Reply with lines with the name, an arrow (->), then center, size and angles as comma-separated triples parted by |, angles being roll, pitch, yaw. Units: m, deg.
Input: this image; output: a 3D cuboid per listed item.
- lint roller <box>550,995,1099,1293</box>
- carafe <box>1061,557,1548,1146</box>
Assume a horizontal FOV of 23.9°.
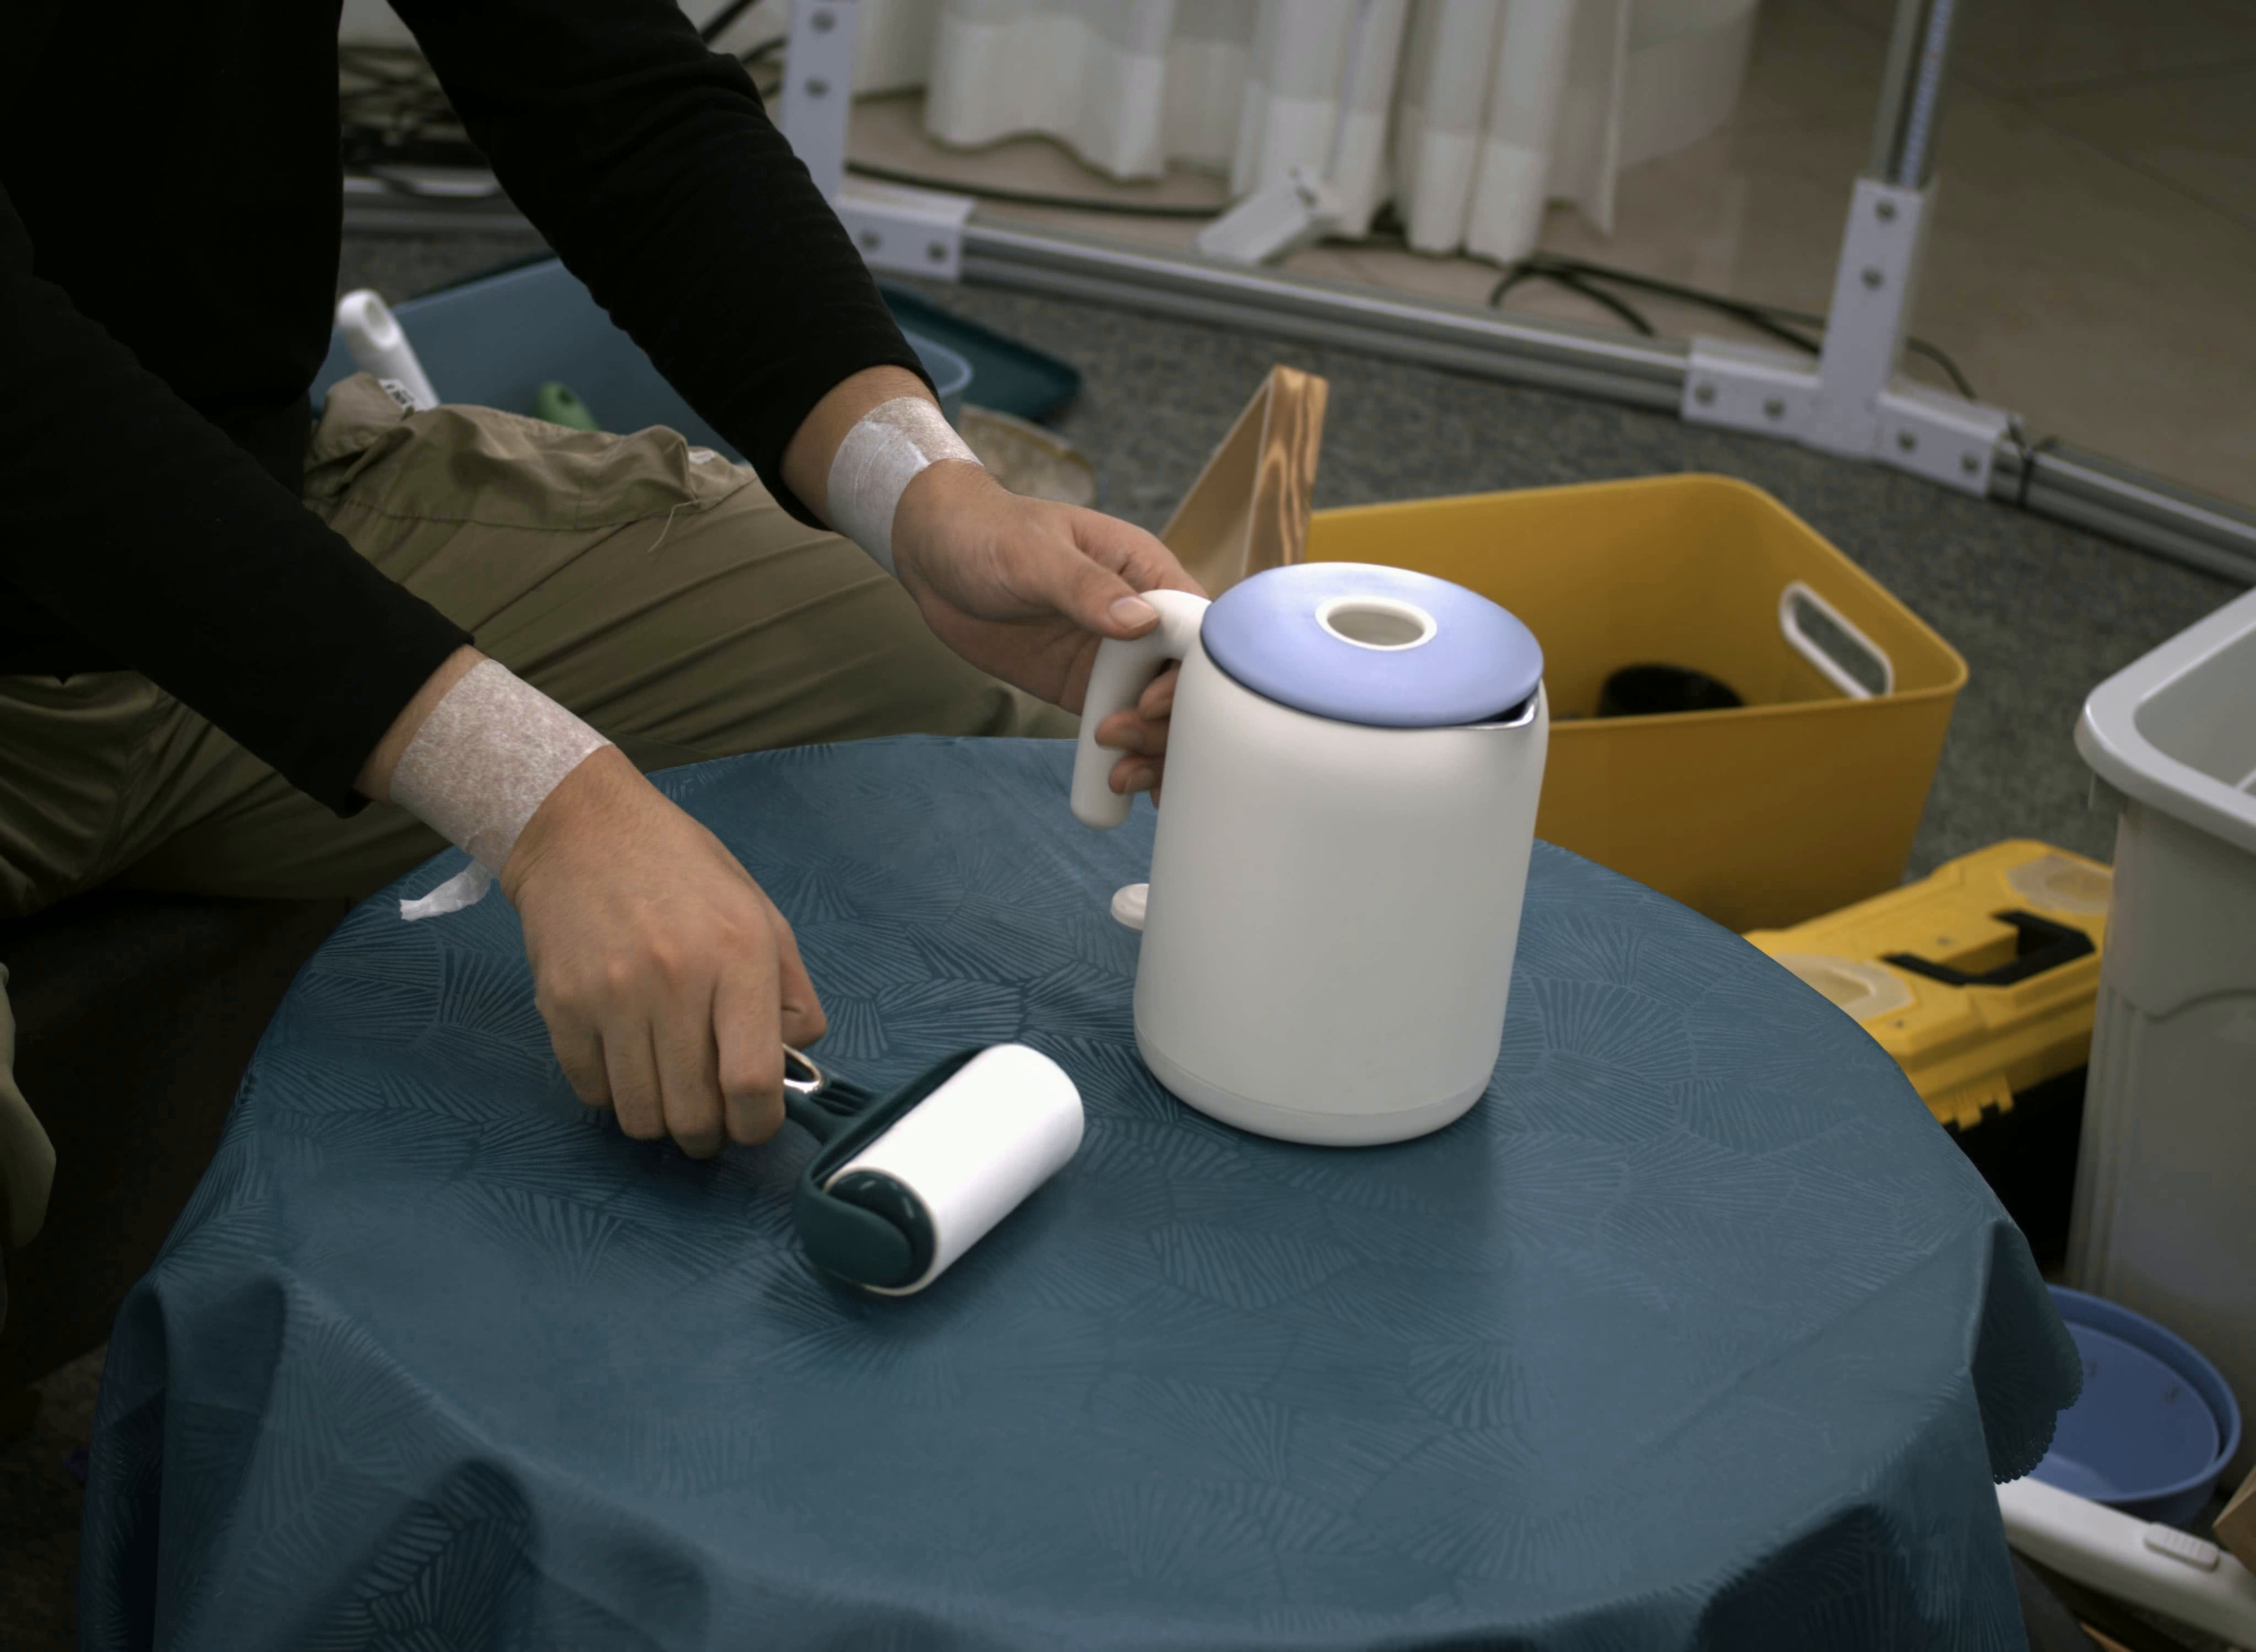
lint roller -> -0.115, 0.083, 1.778 | 0.181, 0.048, 0.134 | 28, 33, 20
carafe -> 0.056, 0.000, 1.868 | 0.192, 0.182, 0.131 | 23, 30, 33
